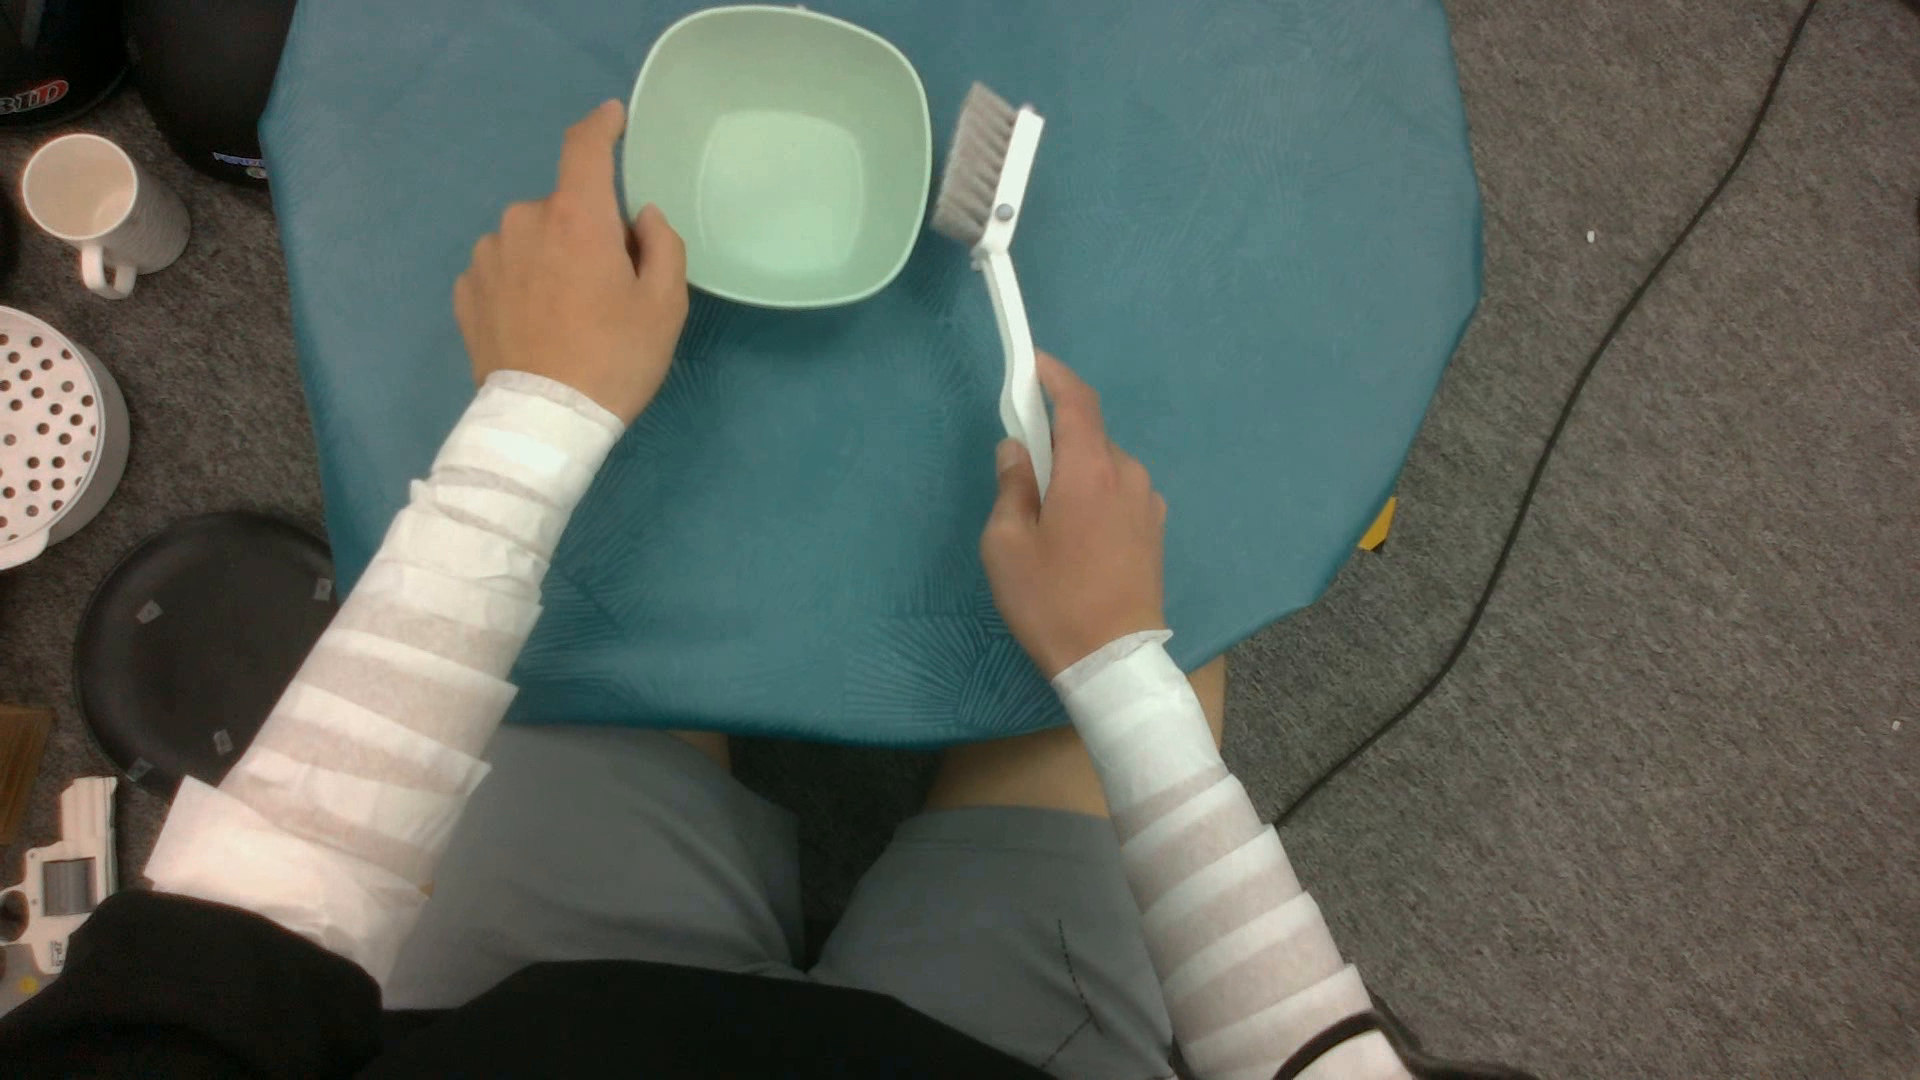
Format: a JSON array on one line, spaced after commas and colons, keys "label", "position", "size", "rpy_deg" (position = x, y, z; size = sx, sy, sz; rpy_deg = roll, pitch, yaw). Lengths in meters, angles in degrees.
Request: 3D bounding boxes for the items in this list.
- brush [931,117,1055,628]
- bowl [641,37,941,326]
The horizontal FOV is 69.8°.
[{"label": "brush", "position": [0.015, -0.079, 0.650], "size": [0.050, 0.034, 0.244], "rpy_deg": [-2, 84, -10]}, {"label": "bowl", "position": [-0.081, -0.167, 0.672], "size": [0.151, 0.058, 0.151], "rpy_deg": [1, 84, -5]}]
